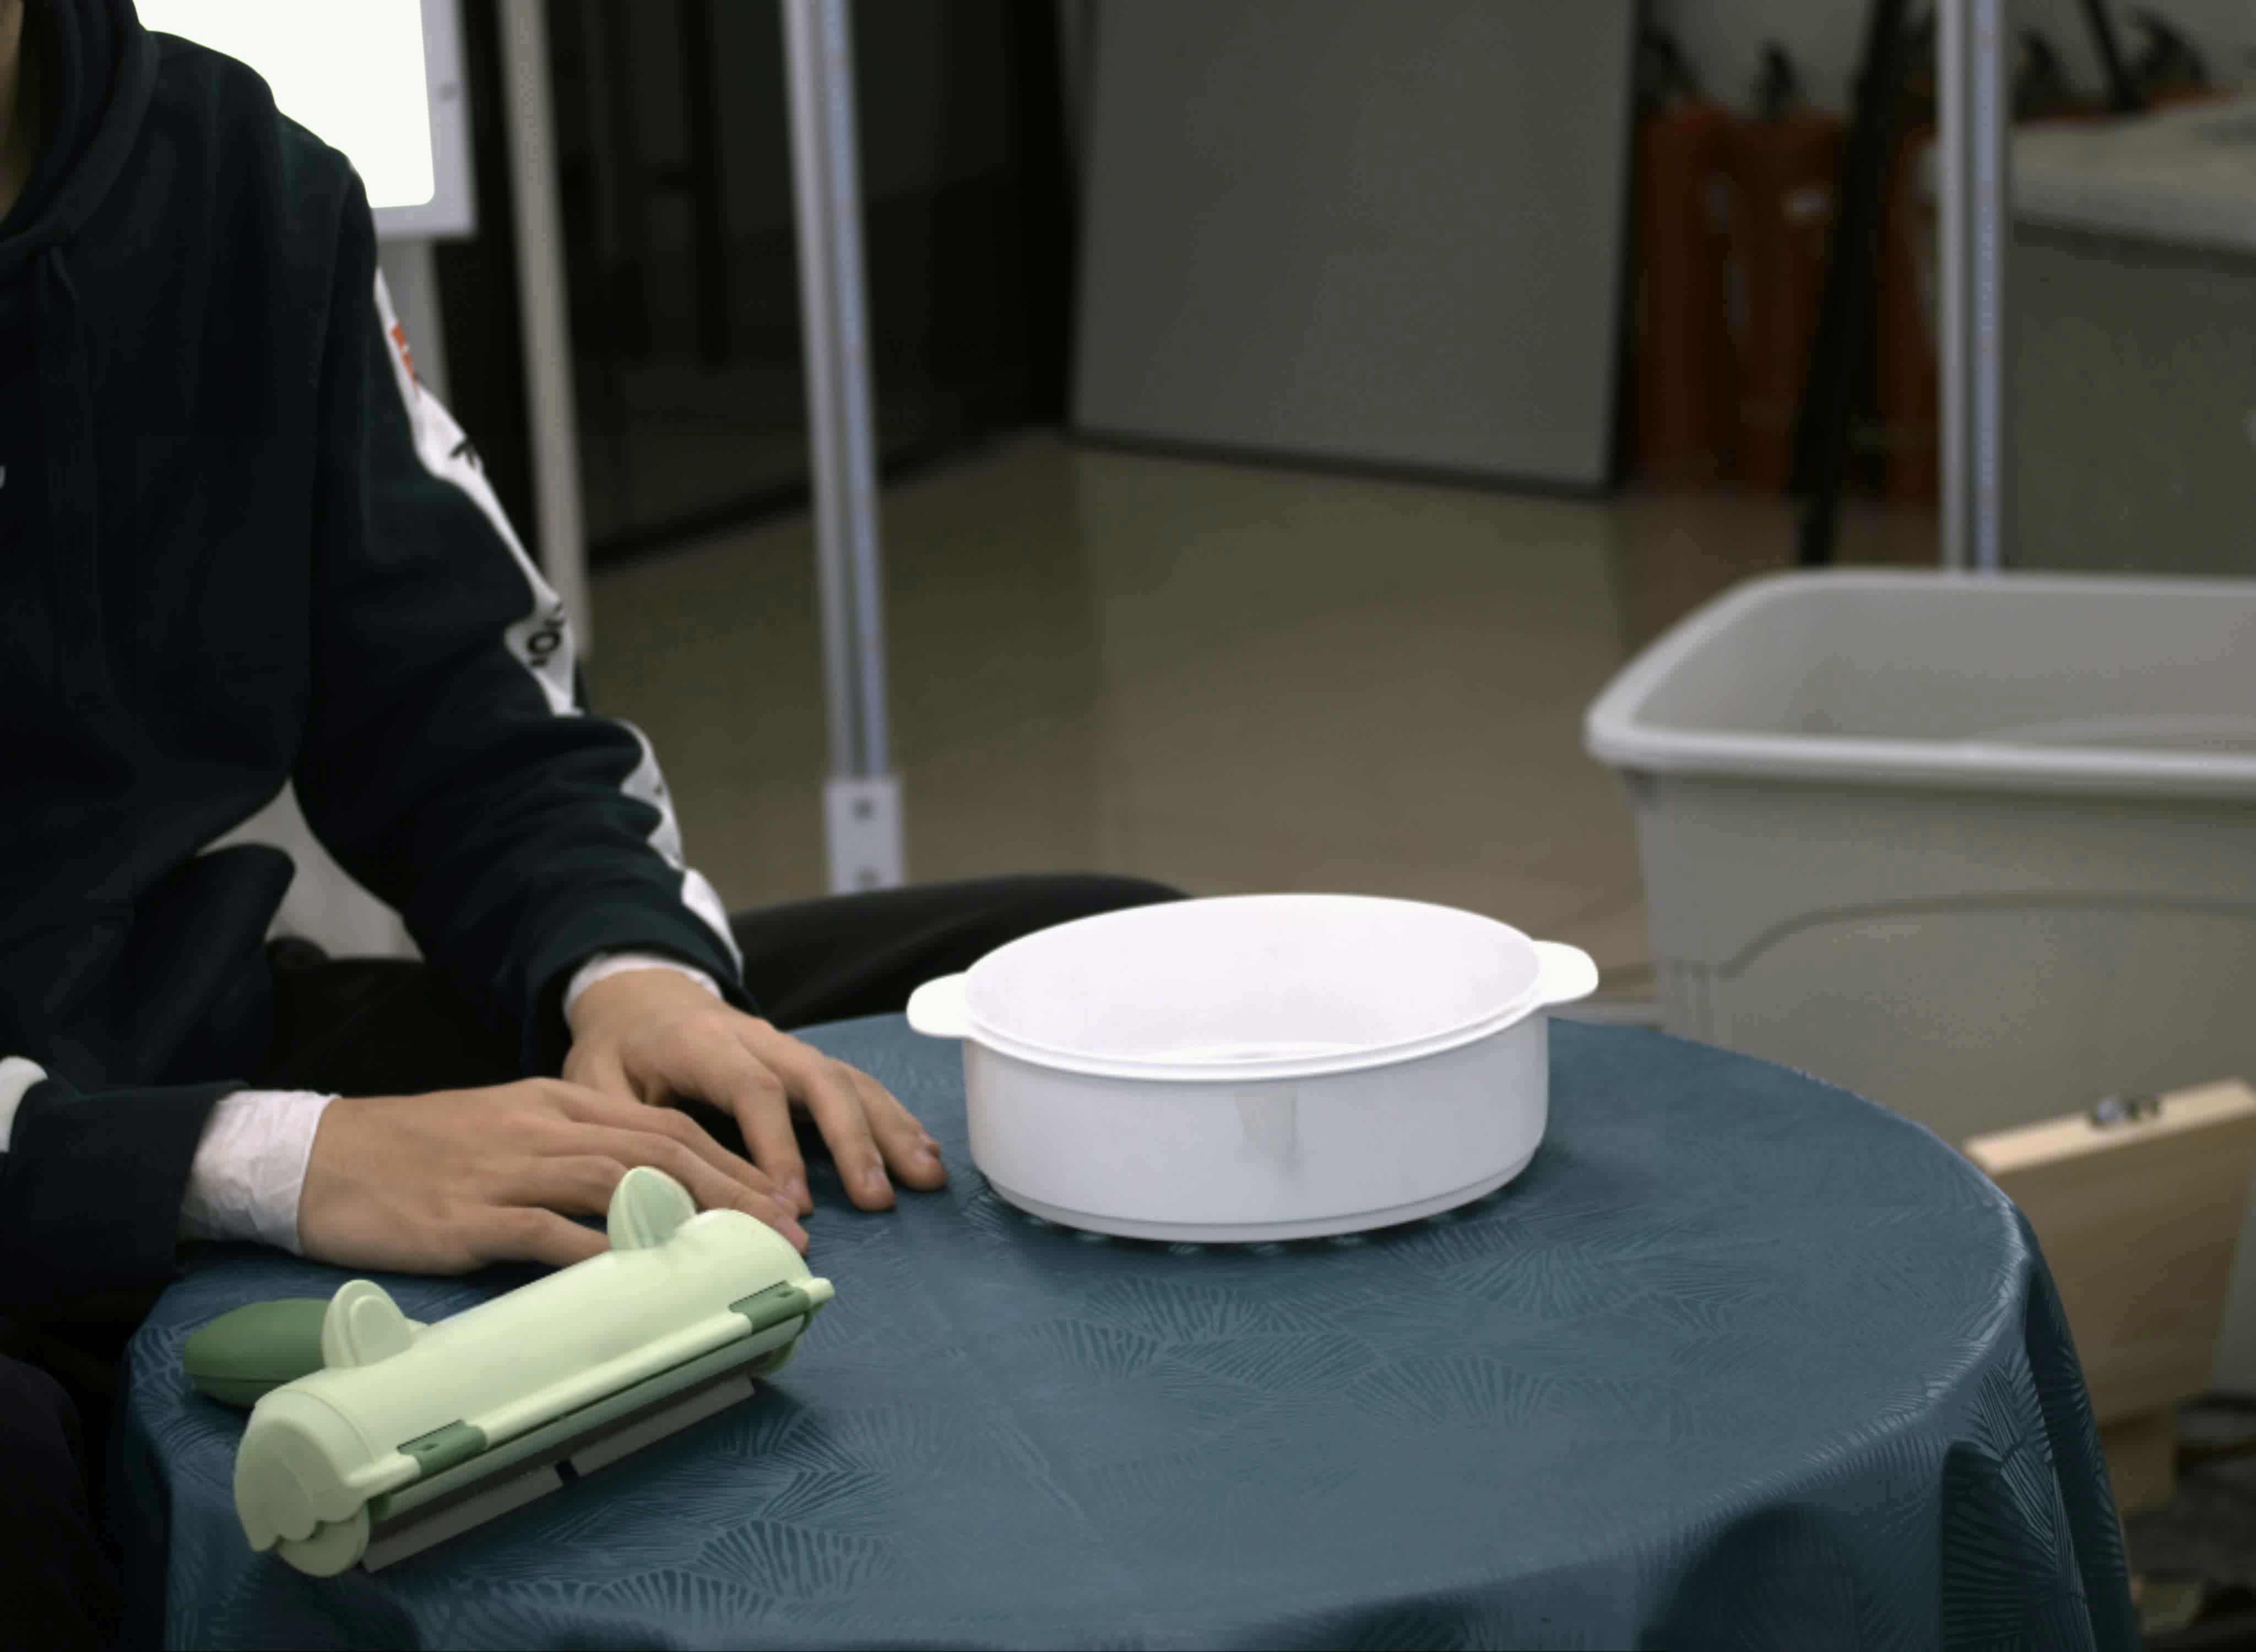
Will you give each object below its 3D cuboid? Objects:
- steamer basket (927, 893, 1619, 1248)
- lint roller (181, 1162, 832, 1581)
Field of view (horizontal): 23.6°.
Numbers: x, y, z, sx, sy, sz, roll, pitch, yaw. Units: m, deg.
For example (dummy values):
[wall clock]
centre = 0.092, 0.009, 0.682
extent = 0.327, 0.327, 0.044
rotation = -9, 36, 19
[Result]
[steamer basket]
centre = 0.048, 0.080, 1.779
extent = 0.228, 0.070, 0.202
rotation = -2, 15, 1
[lint roller]
centre = -0.213, 0.144, 1.579
extent = 0.185, 0.083, 0.195
rotation = 12, 21, 38
